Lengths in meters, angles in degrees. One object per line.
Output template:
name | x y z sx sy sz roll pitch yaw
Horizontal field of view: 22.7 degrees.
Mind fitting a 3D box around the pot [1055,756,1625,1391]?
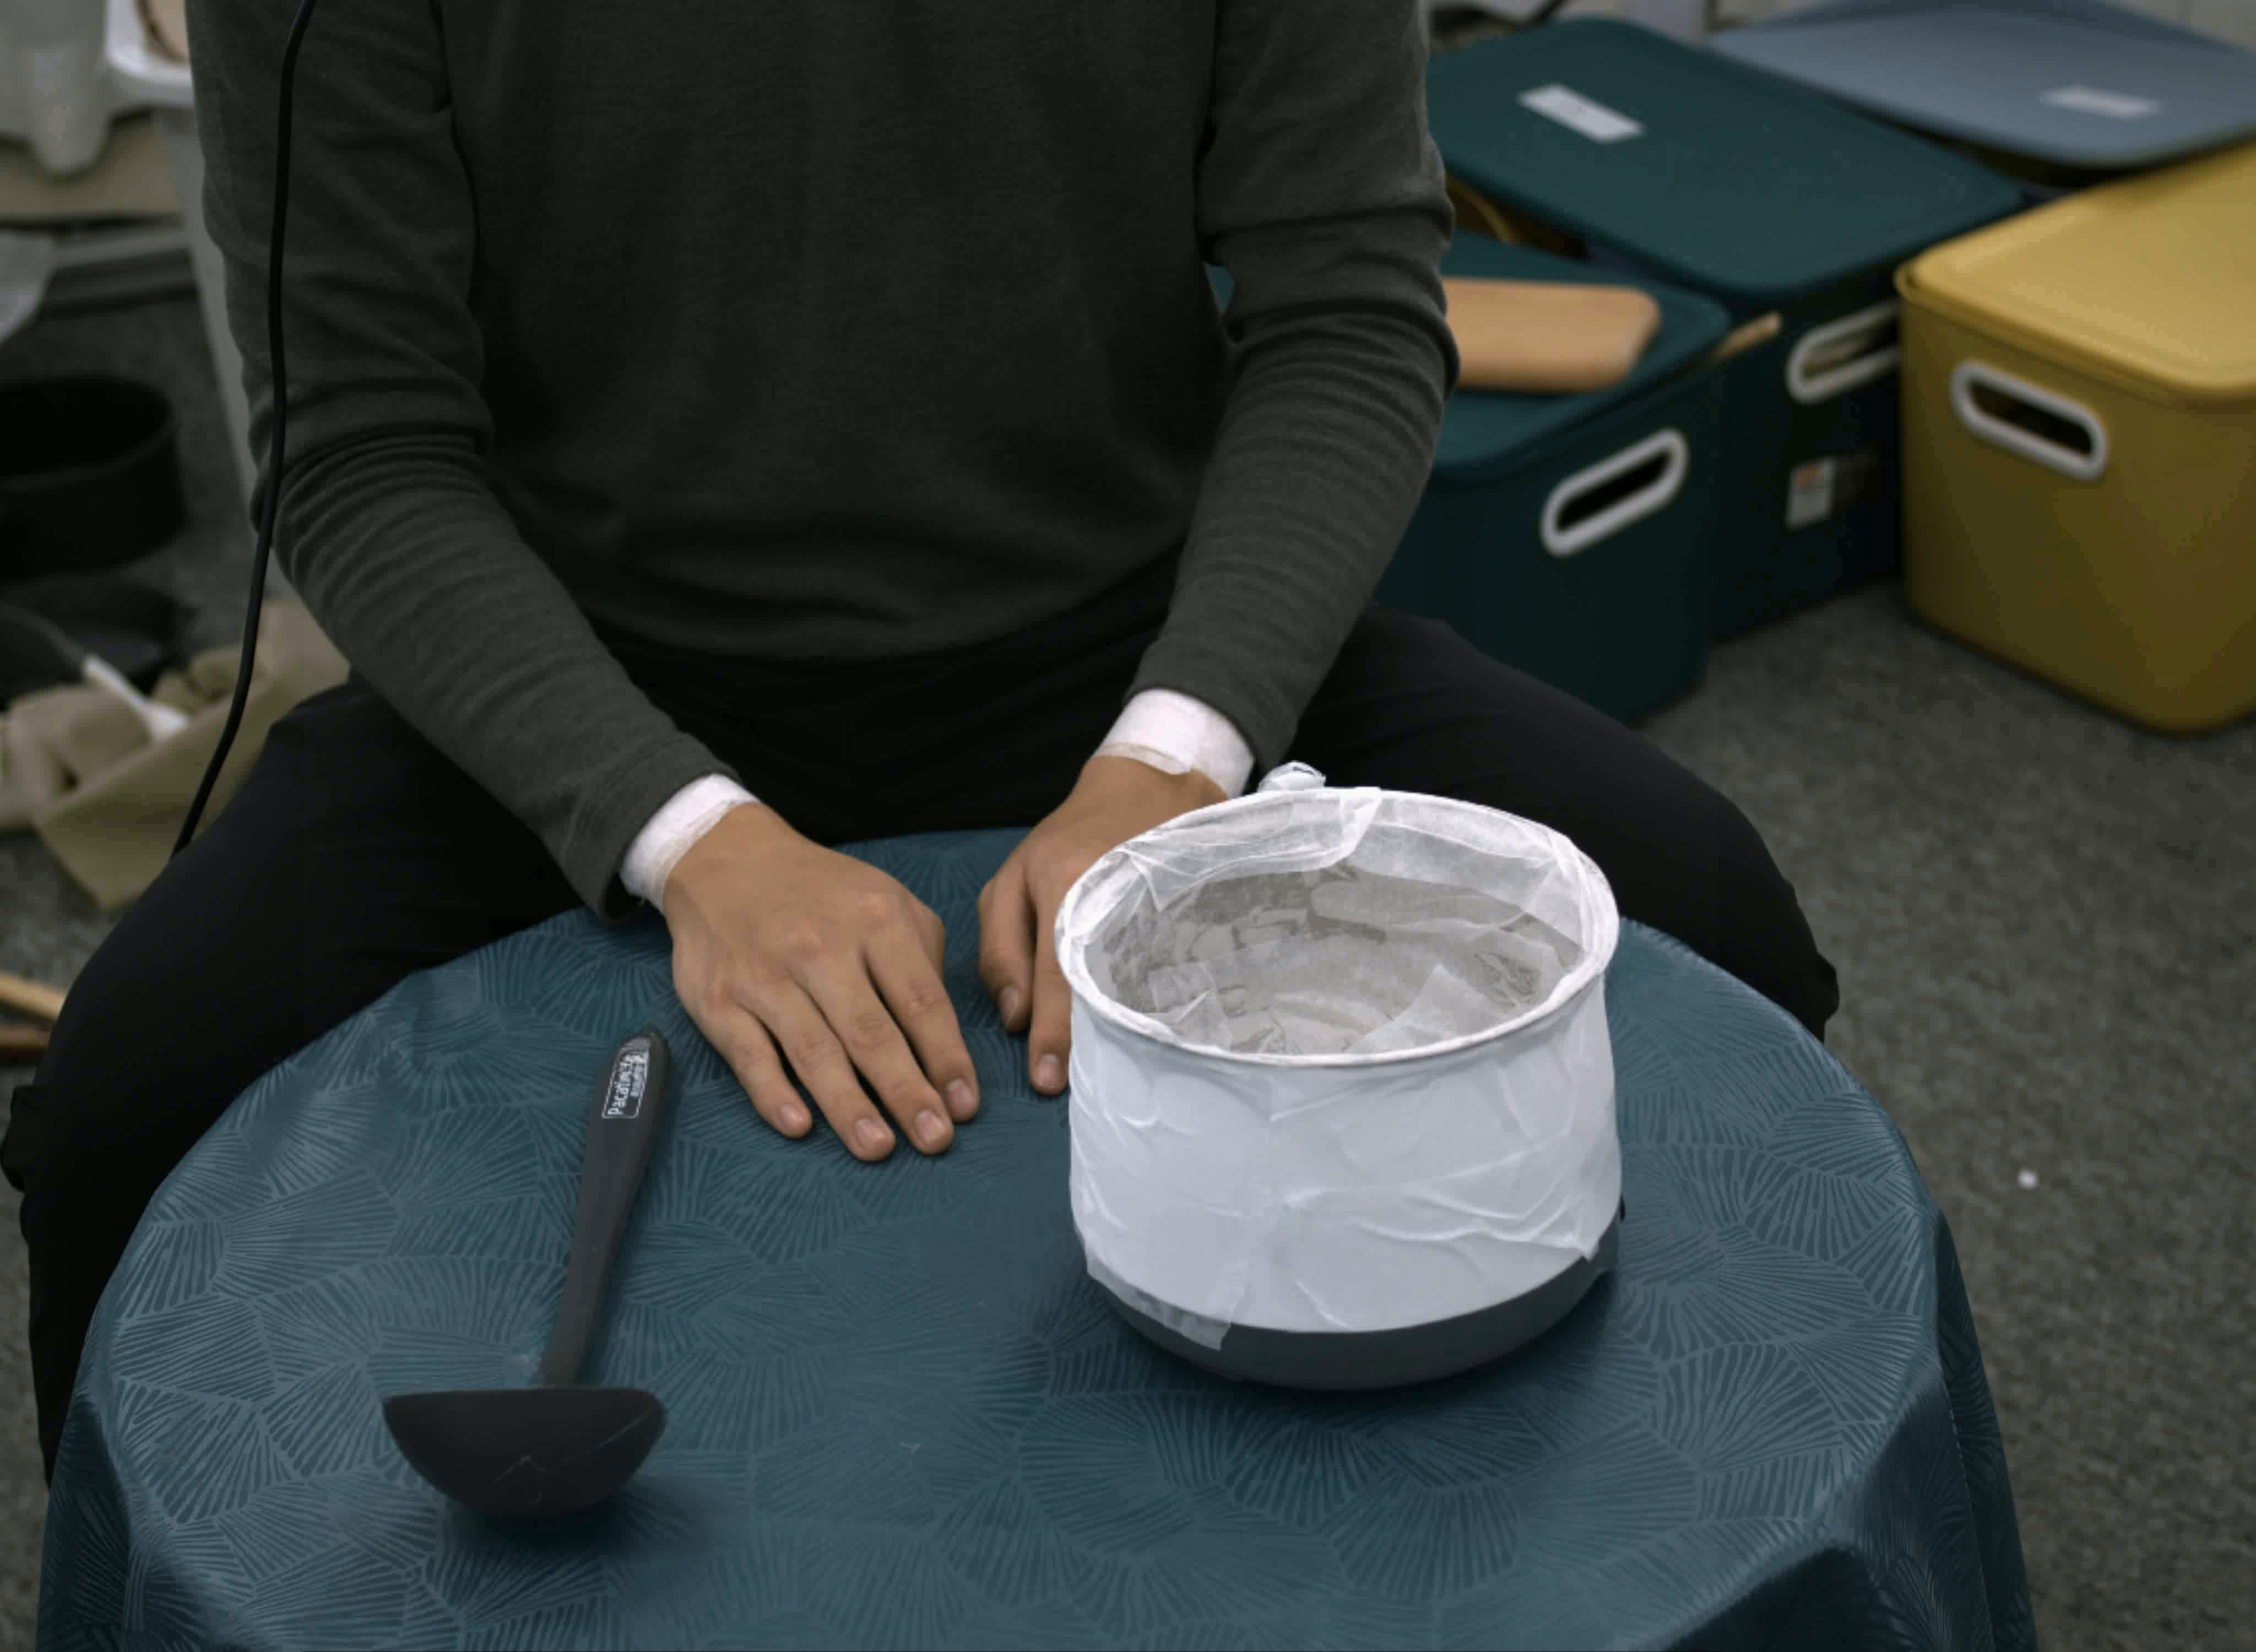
pot | 0.065 0.071 1.804 0.178 0.135 0.237 -5 27 -5

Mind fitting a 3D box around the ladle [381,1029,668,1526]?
ladle | -0.175 0.126 1.802 0.086 0.063 0.319 3 27 1
